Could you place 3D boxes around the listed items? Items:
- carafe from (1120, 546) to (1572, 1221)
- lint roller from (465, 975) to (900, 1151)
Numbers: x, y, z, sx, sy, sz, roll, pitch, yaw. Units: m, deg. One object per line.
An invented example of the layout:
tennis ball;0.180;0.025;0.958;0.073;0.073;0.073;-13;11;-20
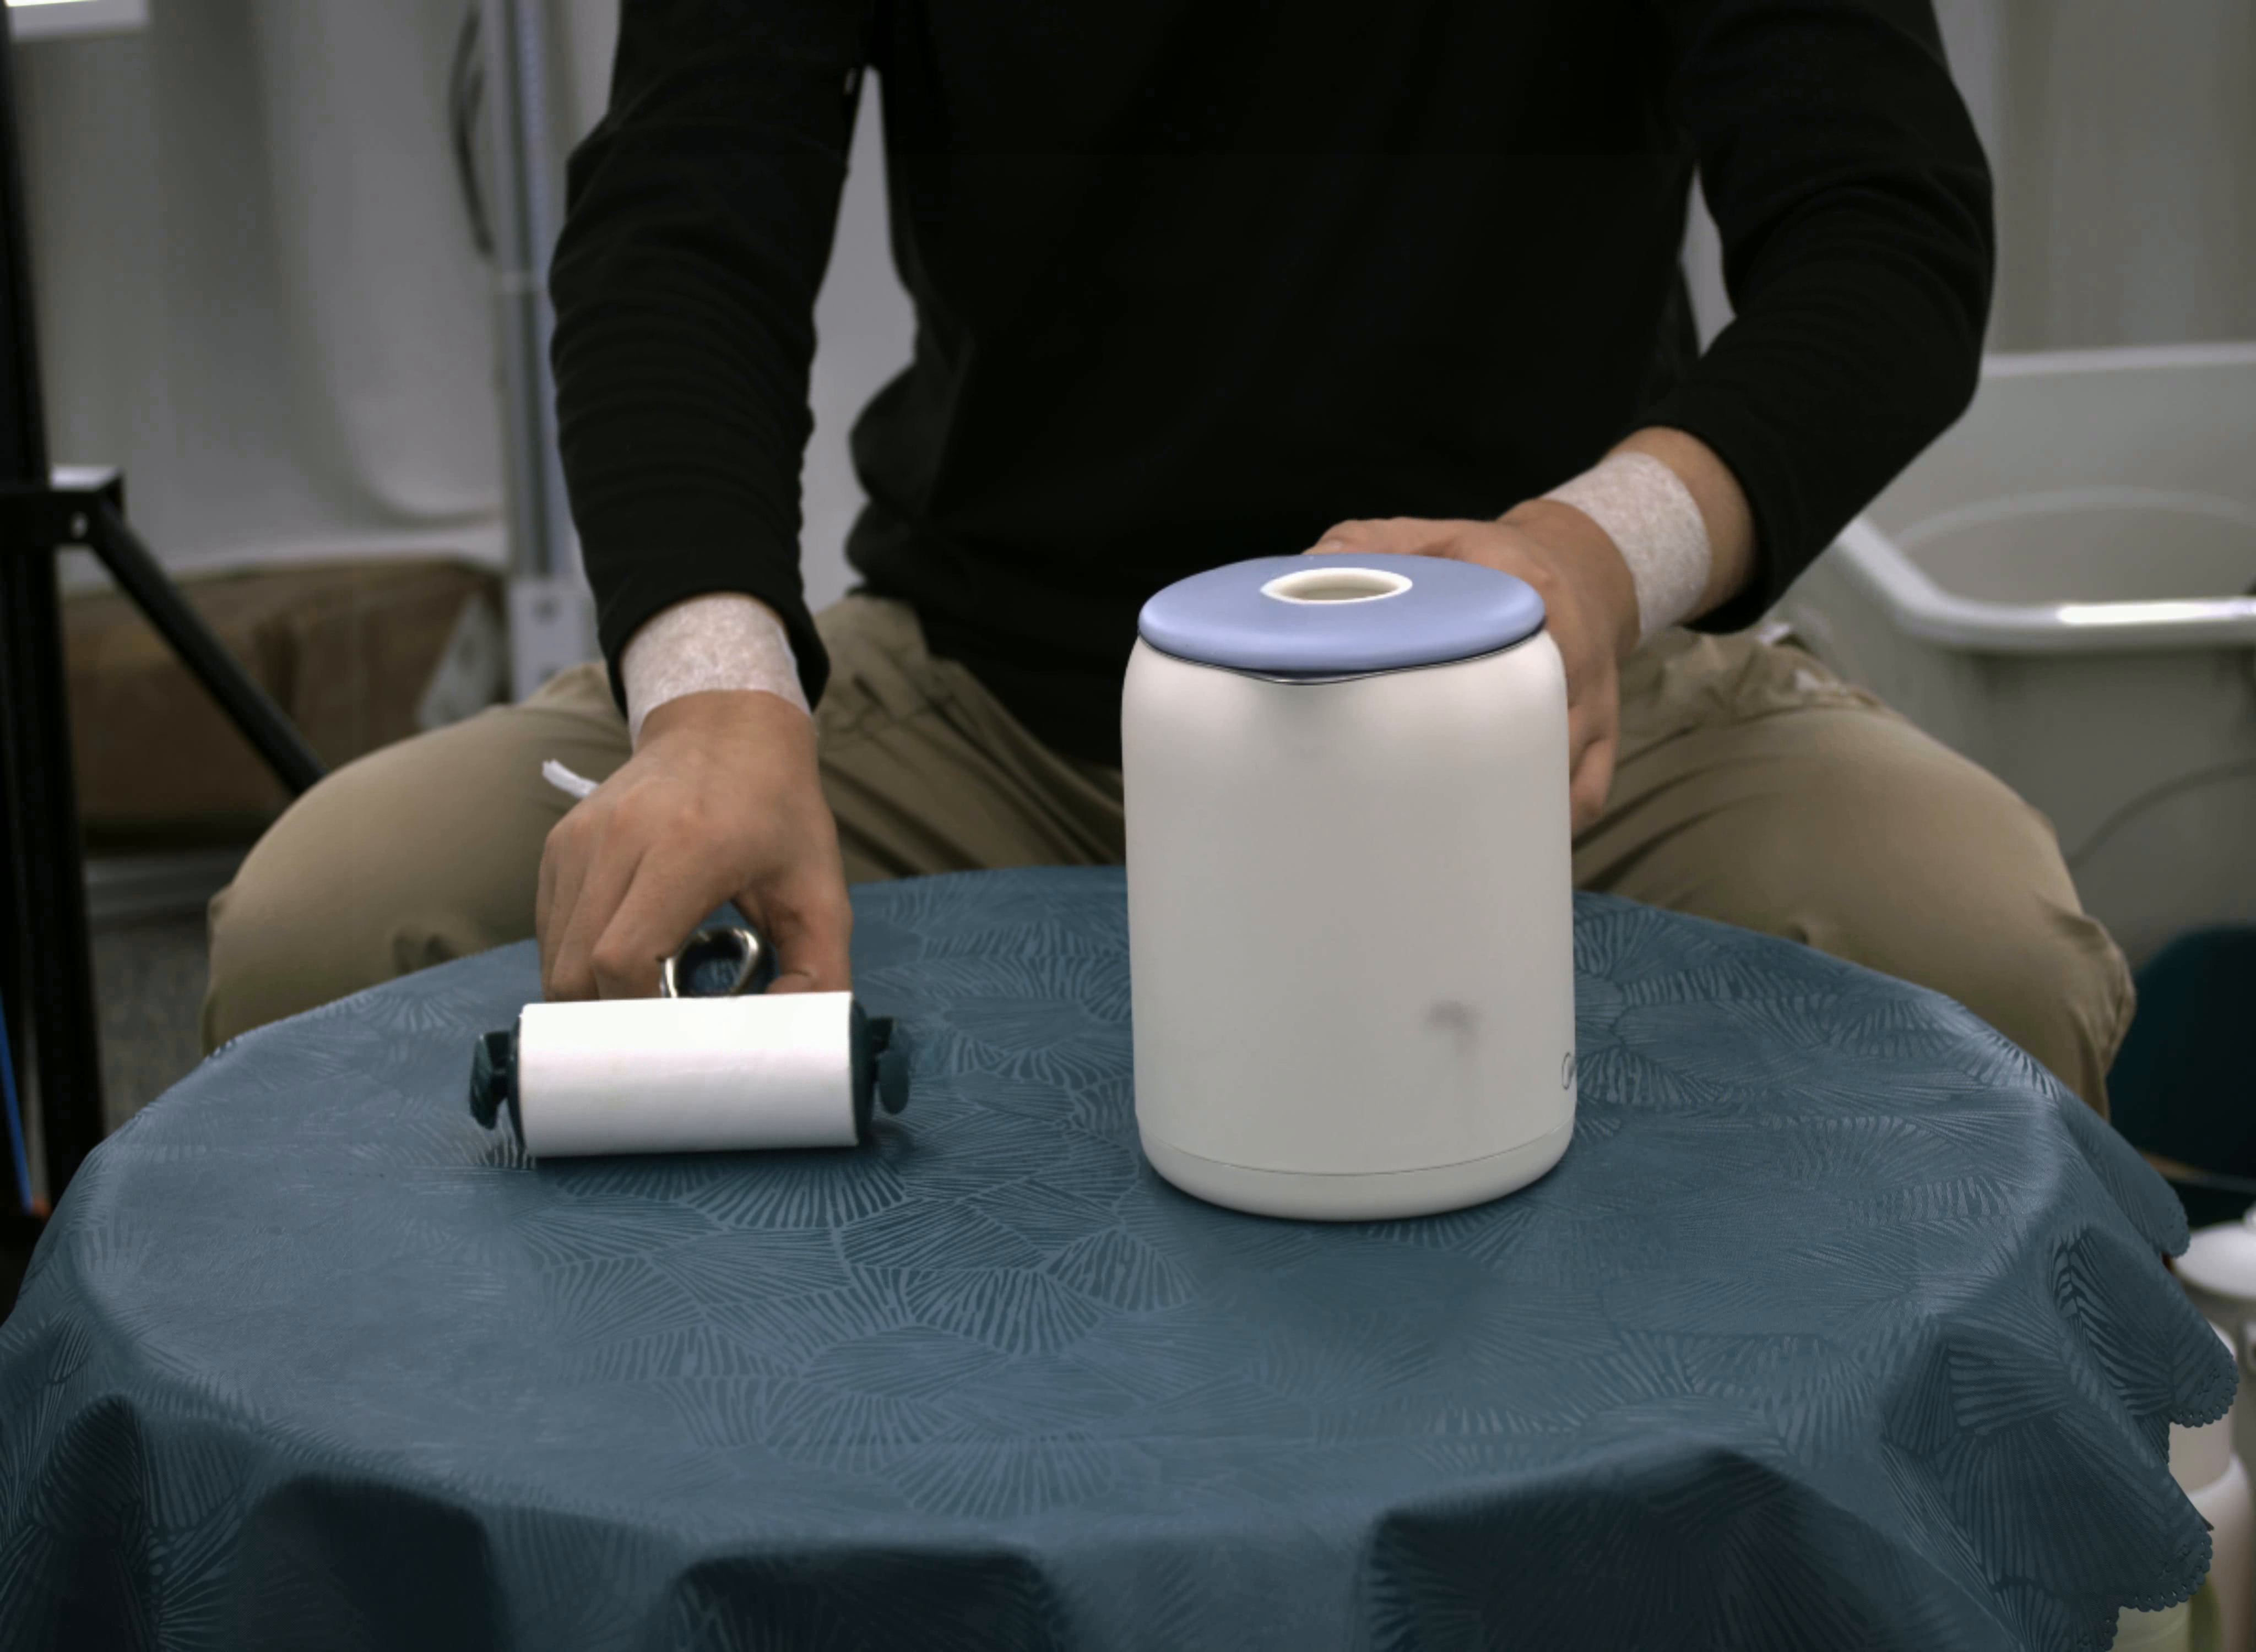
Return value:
carafe;0.069;0.010;1.579;0.133;0.182;0.190;1;14;11
lint roller;-0.132;0.056;1.674;0.134;0.048;0.180;-2;16;3
